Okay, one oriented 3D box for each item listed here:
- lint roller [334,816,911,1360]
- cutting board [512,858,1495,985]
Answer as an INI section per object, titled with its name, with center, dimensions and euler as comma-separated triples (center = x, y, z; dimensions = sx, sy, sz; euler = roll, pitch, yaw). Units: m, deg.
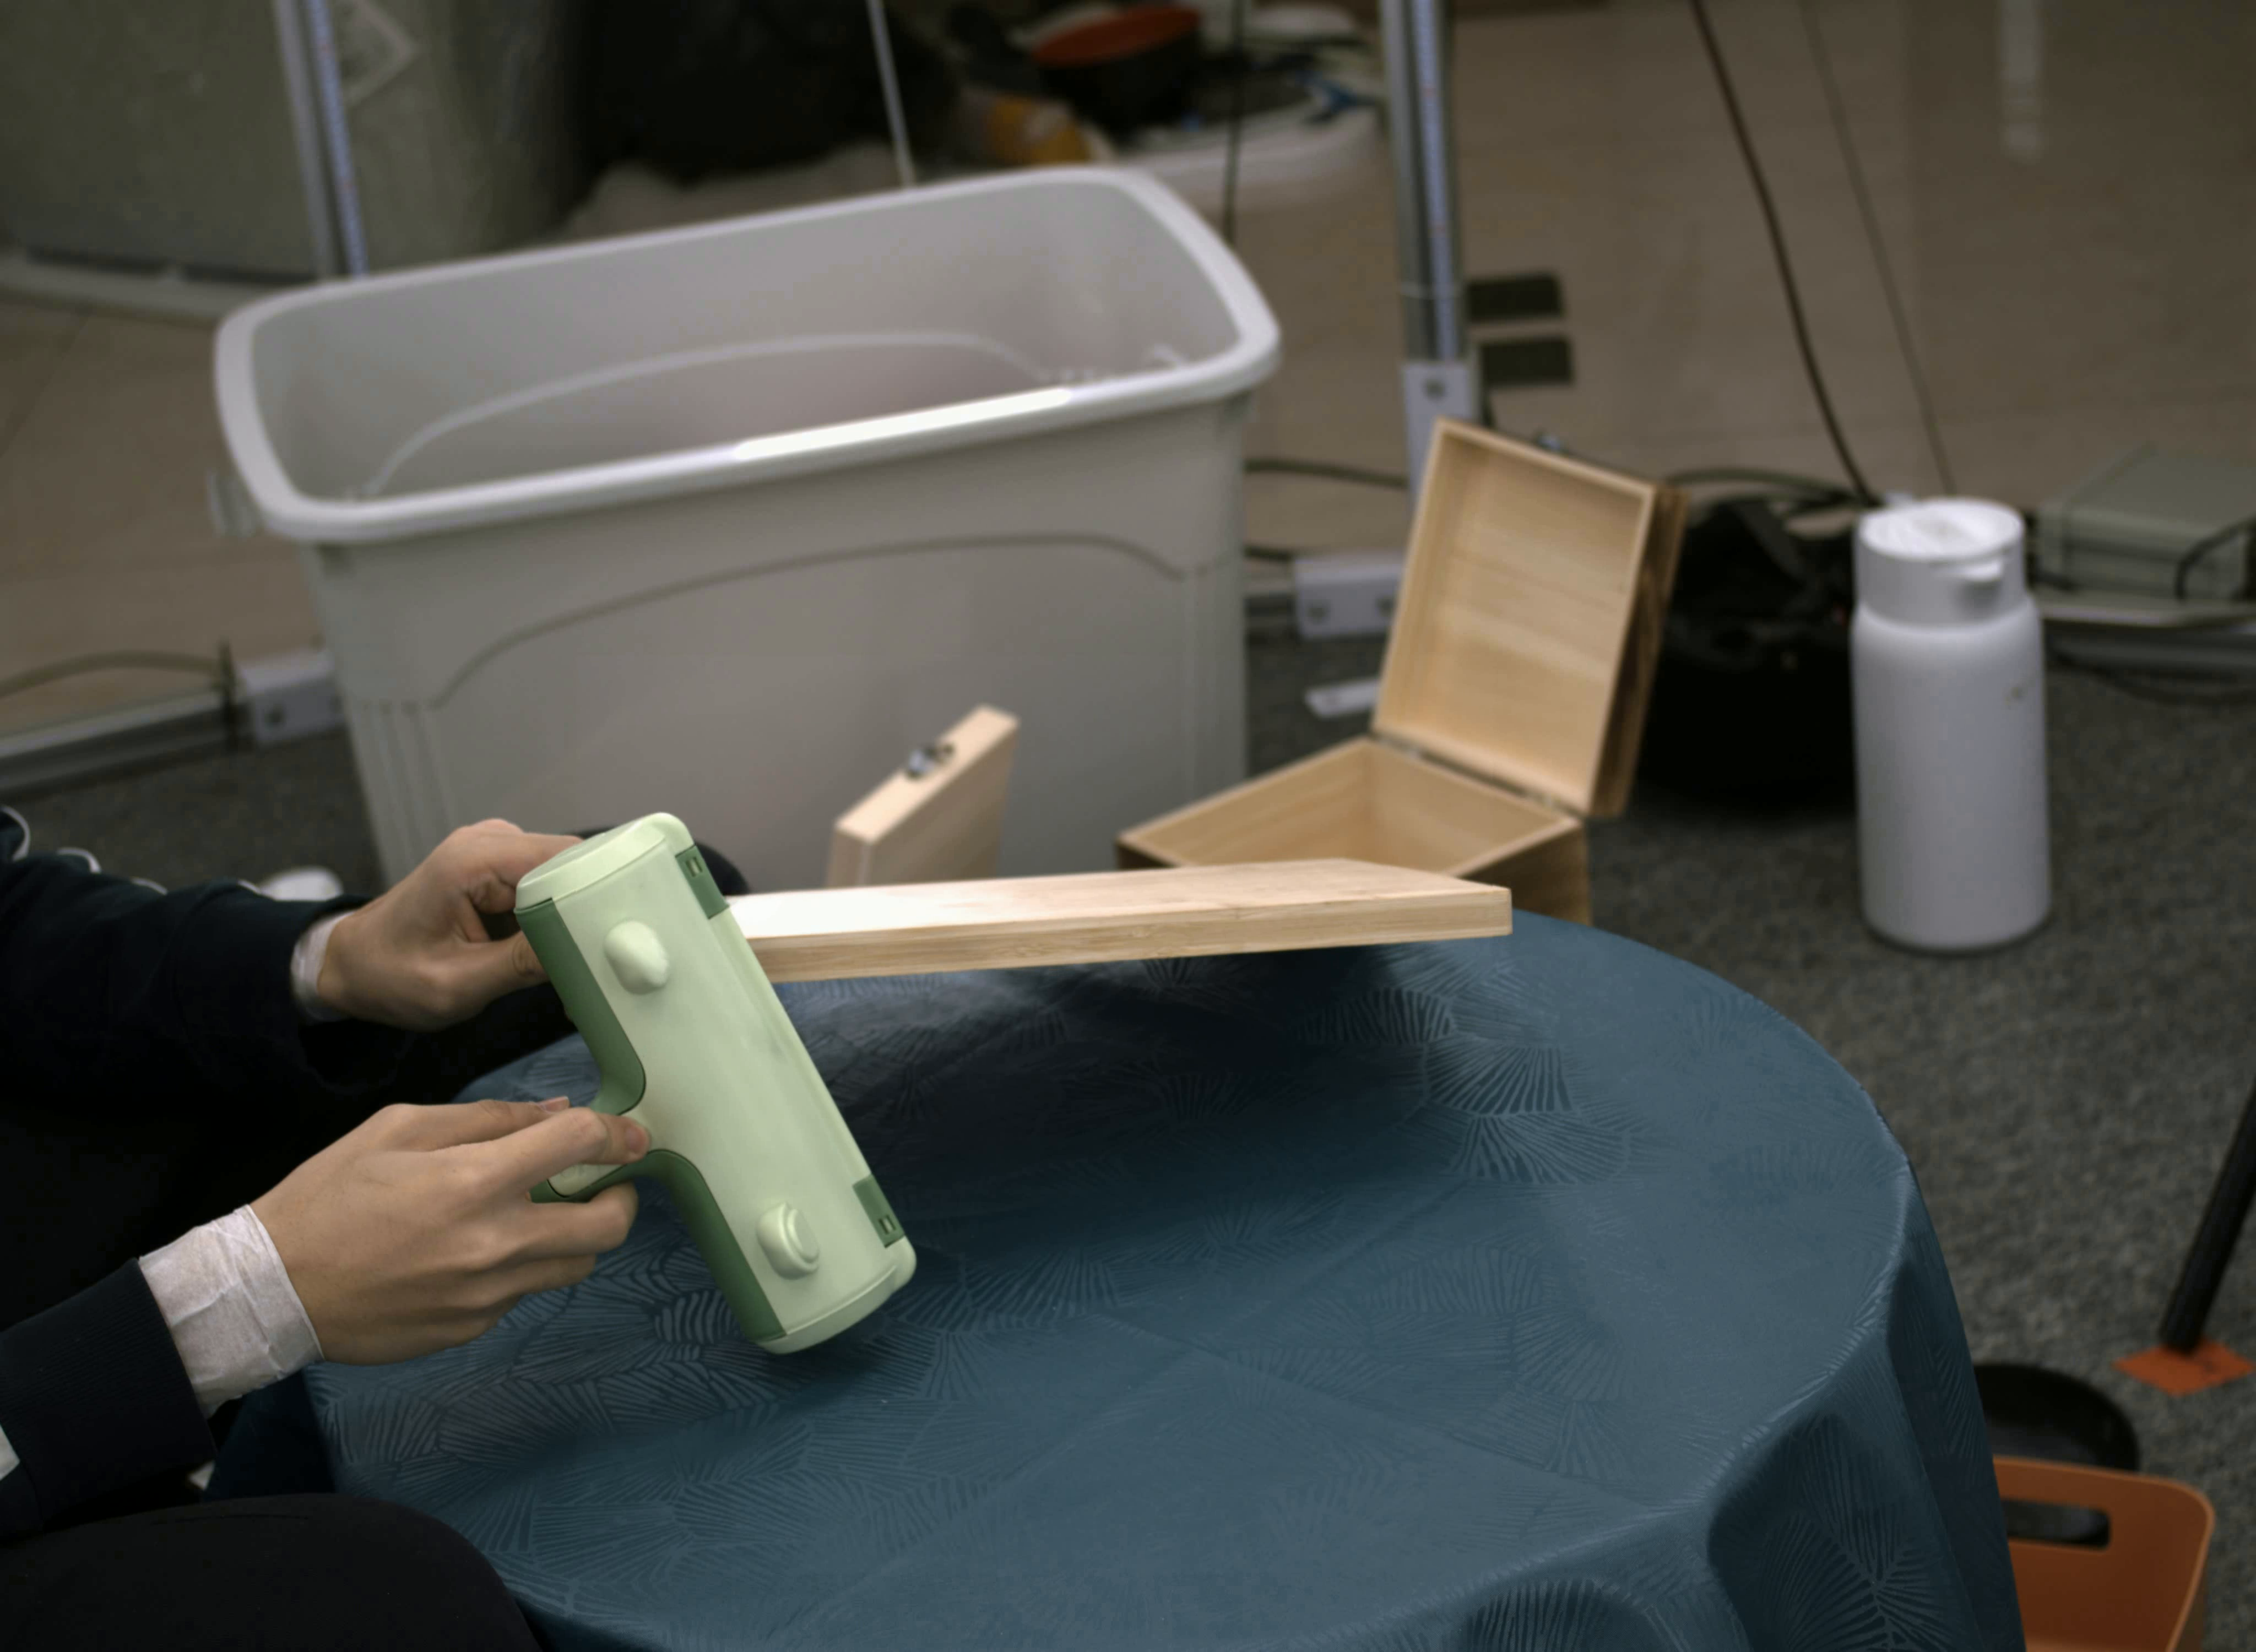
[lint roller]
center = -0.194, 0.121, 2.004
dimensions = 0.182, 0.200, 0.082
euler = -31, 10, -19
[cutting board]
center = -0.052, 0.038, 2.201
dimensions = 0.348, 0.023, 0.250
euler = -3, 3, -14
